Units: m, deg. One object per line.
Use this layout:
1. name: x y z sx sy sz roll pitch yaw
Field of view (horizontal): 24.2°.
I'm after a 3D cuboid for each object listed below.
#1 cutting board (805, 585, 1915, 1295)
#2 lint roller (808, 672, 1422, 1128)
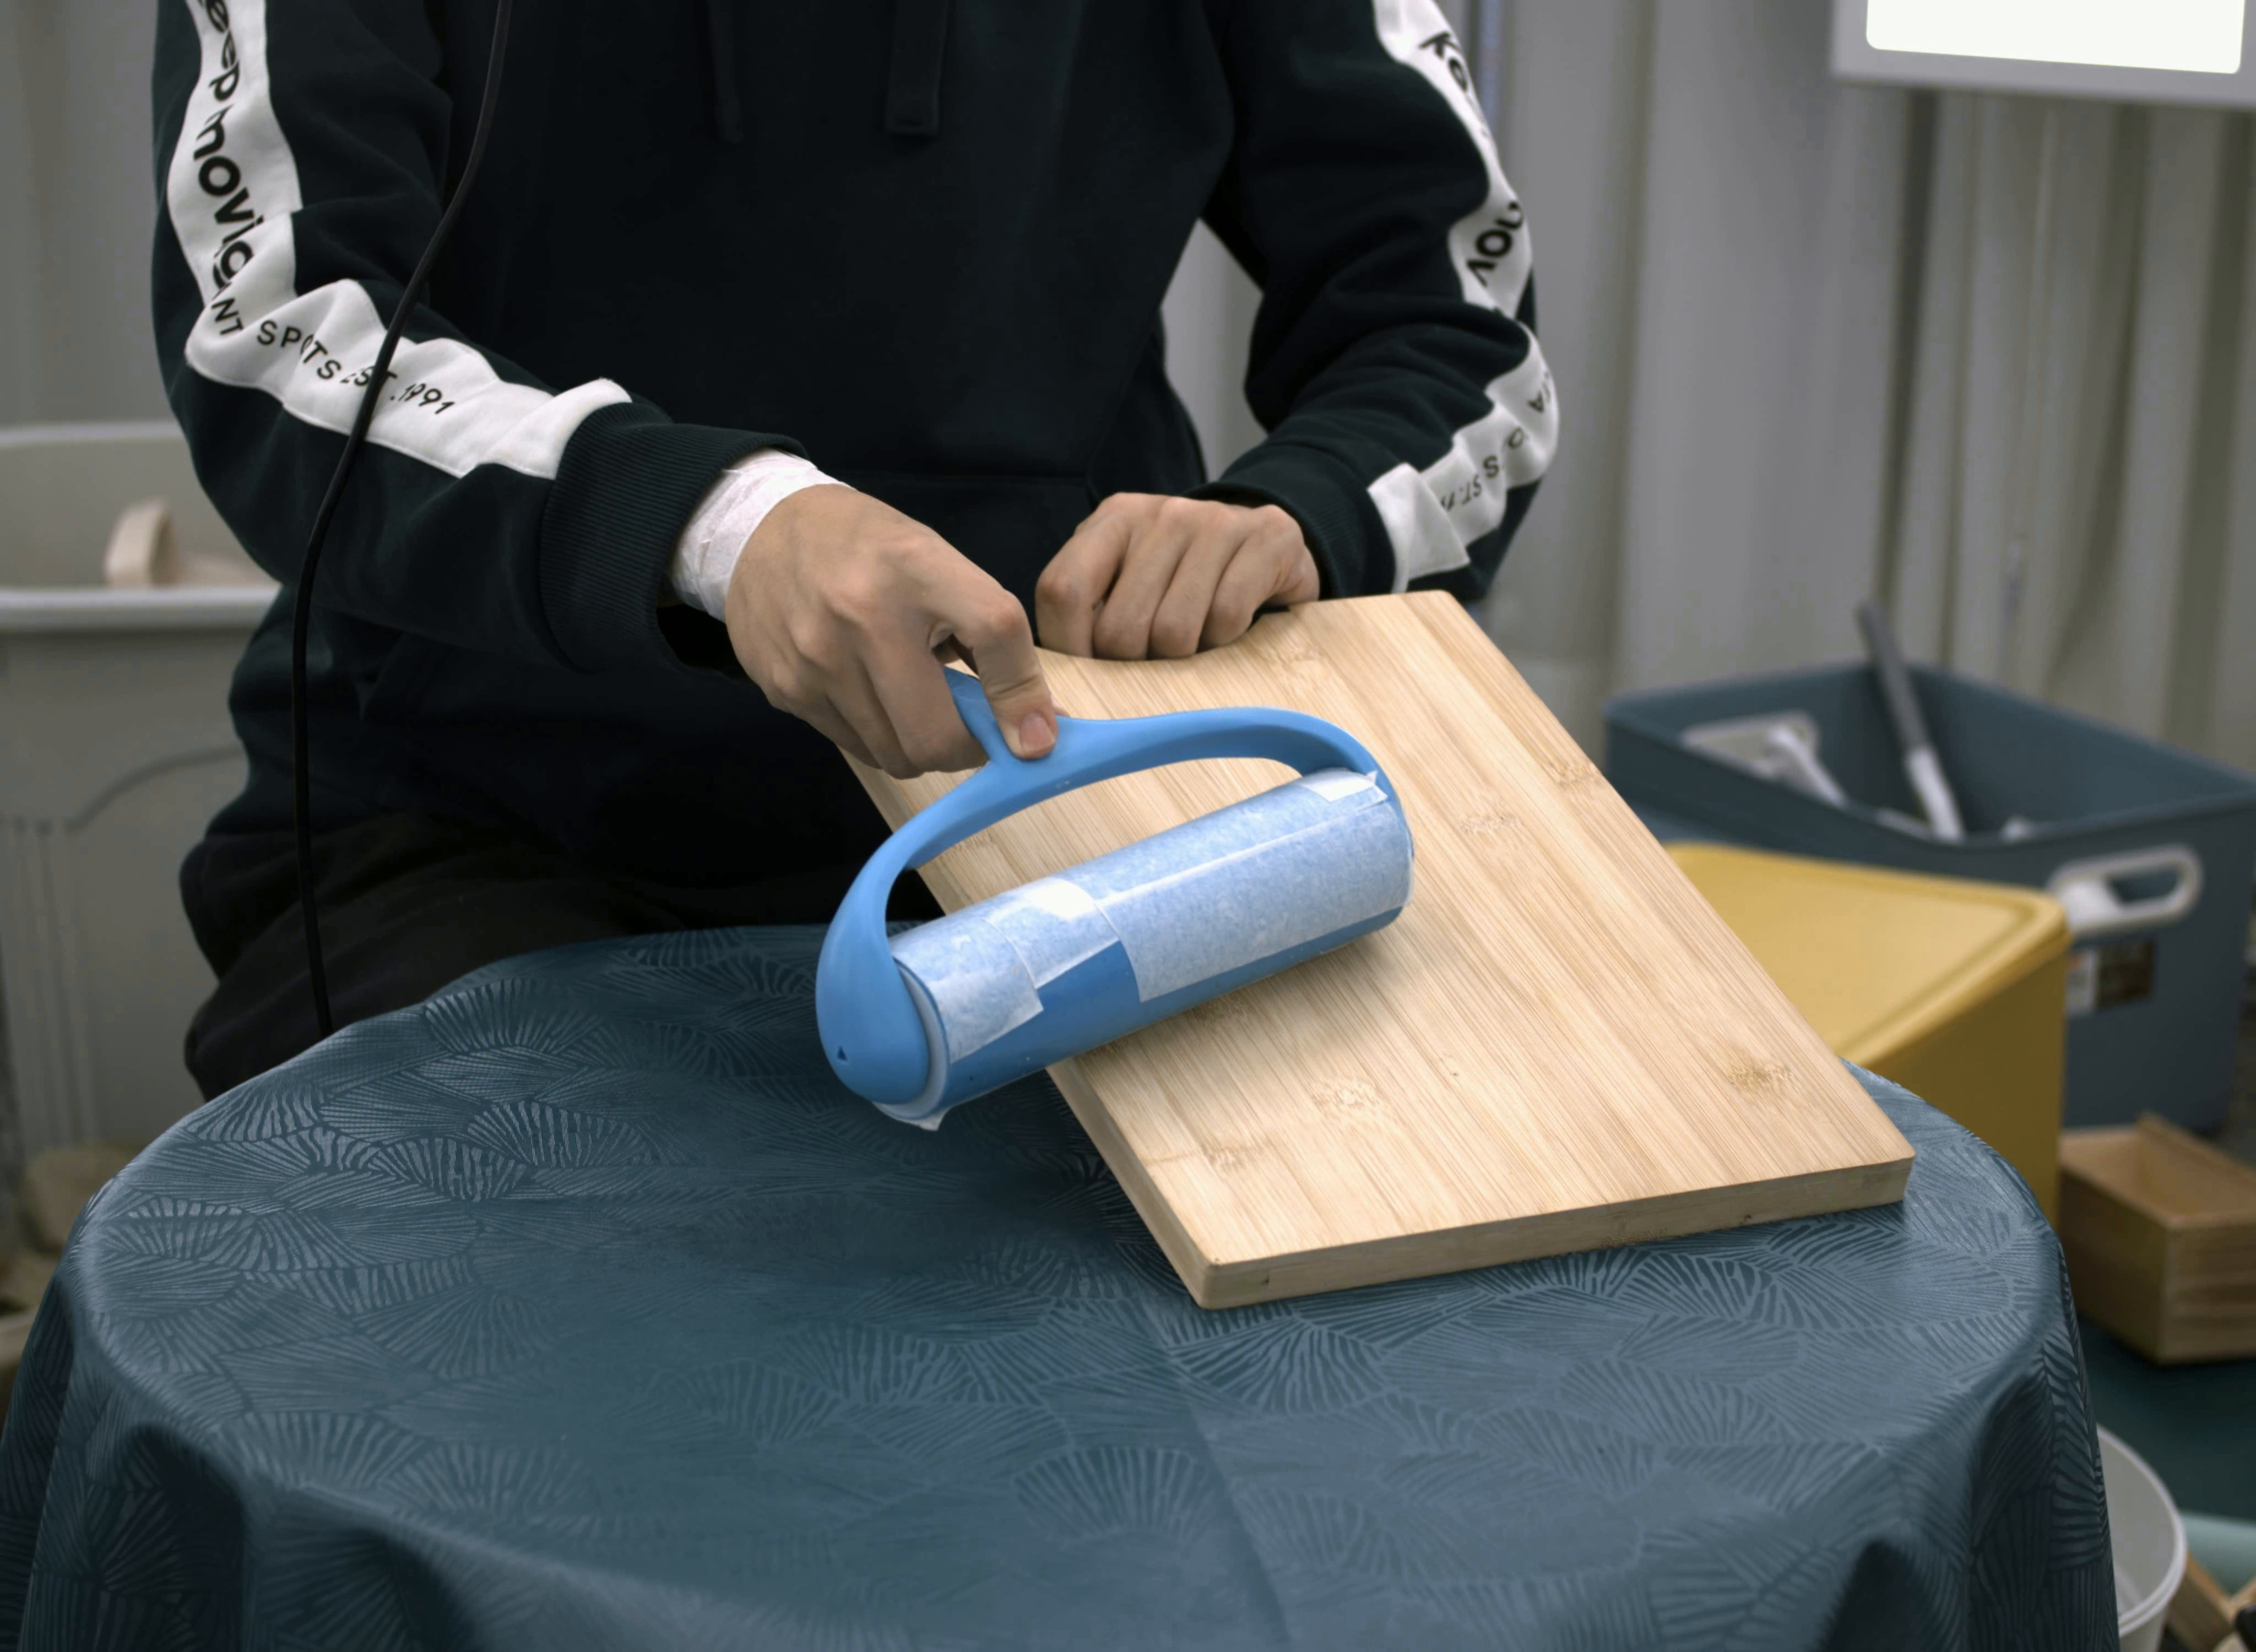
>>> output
1. cutting board: 0.065 0.028 1.692 0.251 0.024 0.344 -7 36 -24
2. lint roller: -0.035 -0.003 1.619 0.229 0.068 0.178 -25 59 -39
